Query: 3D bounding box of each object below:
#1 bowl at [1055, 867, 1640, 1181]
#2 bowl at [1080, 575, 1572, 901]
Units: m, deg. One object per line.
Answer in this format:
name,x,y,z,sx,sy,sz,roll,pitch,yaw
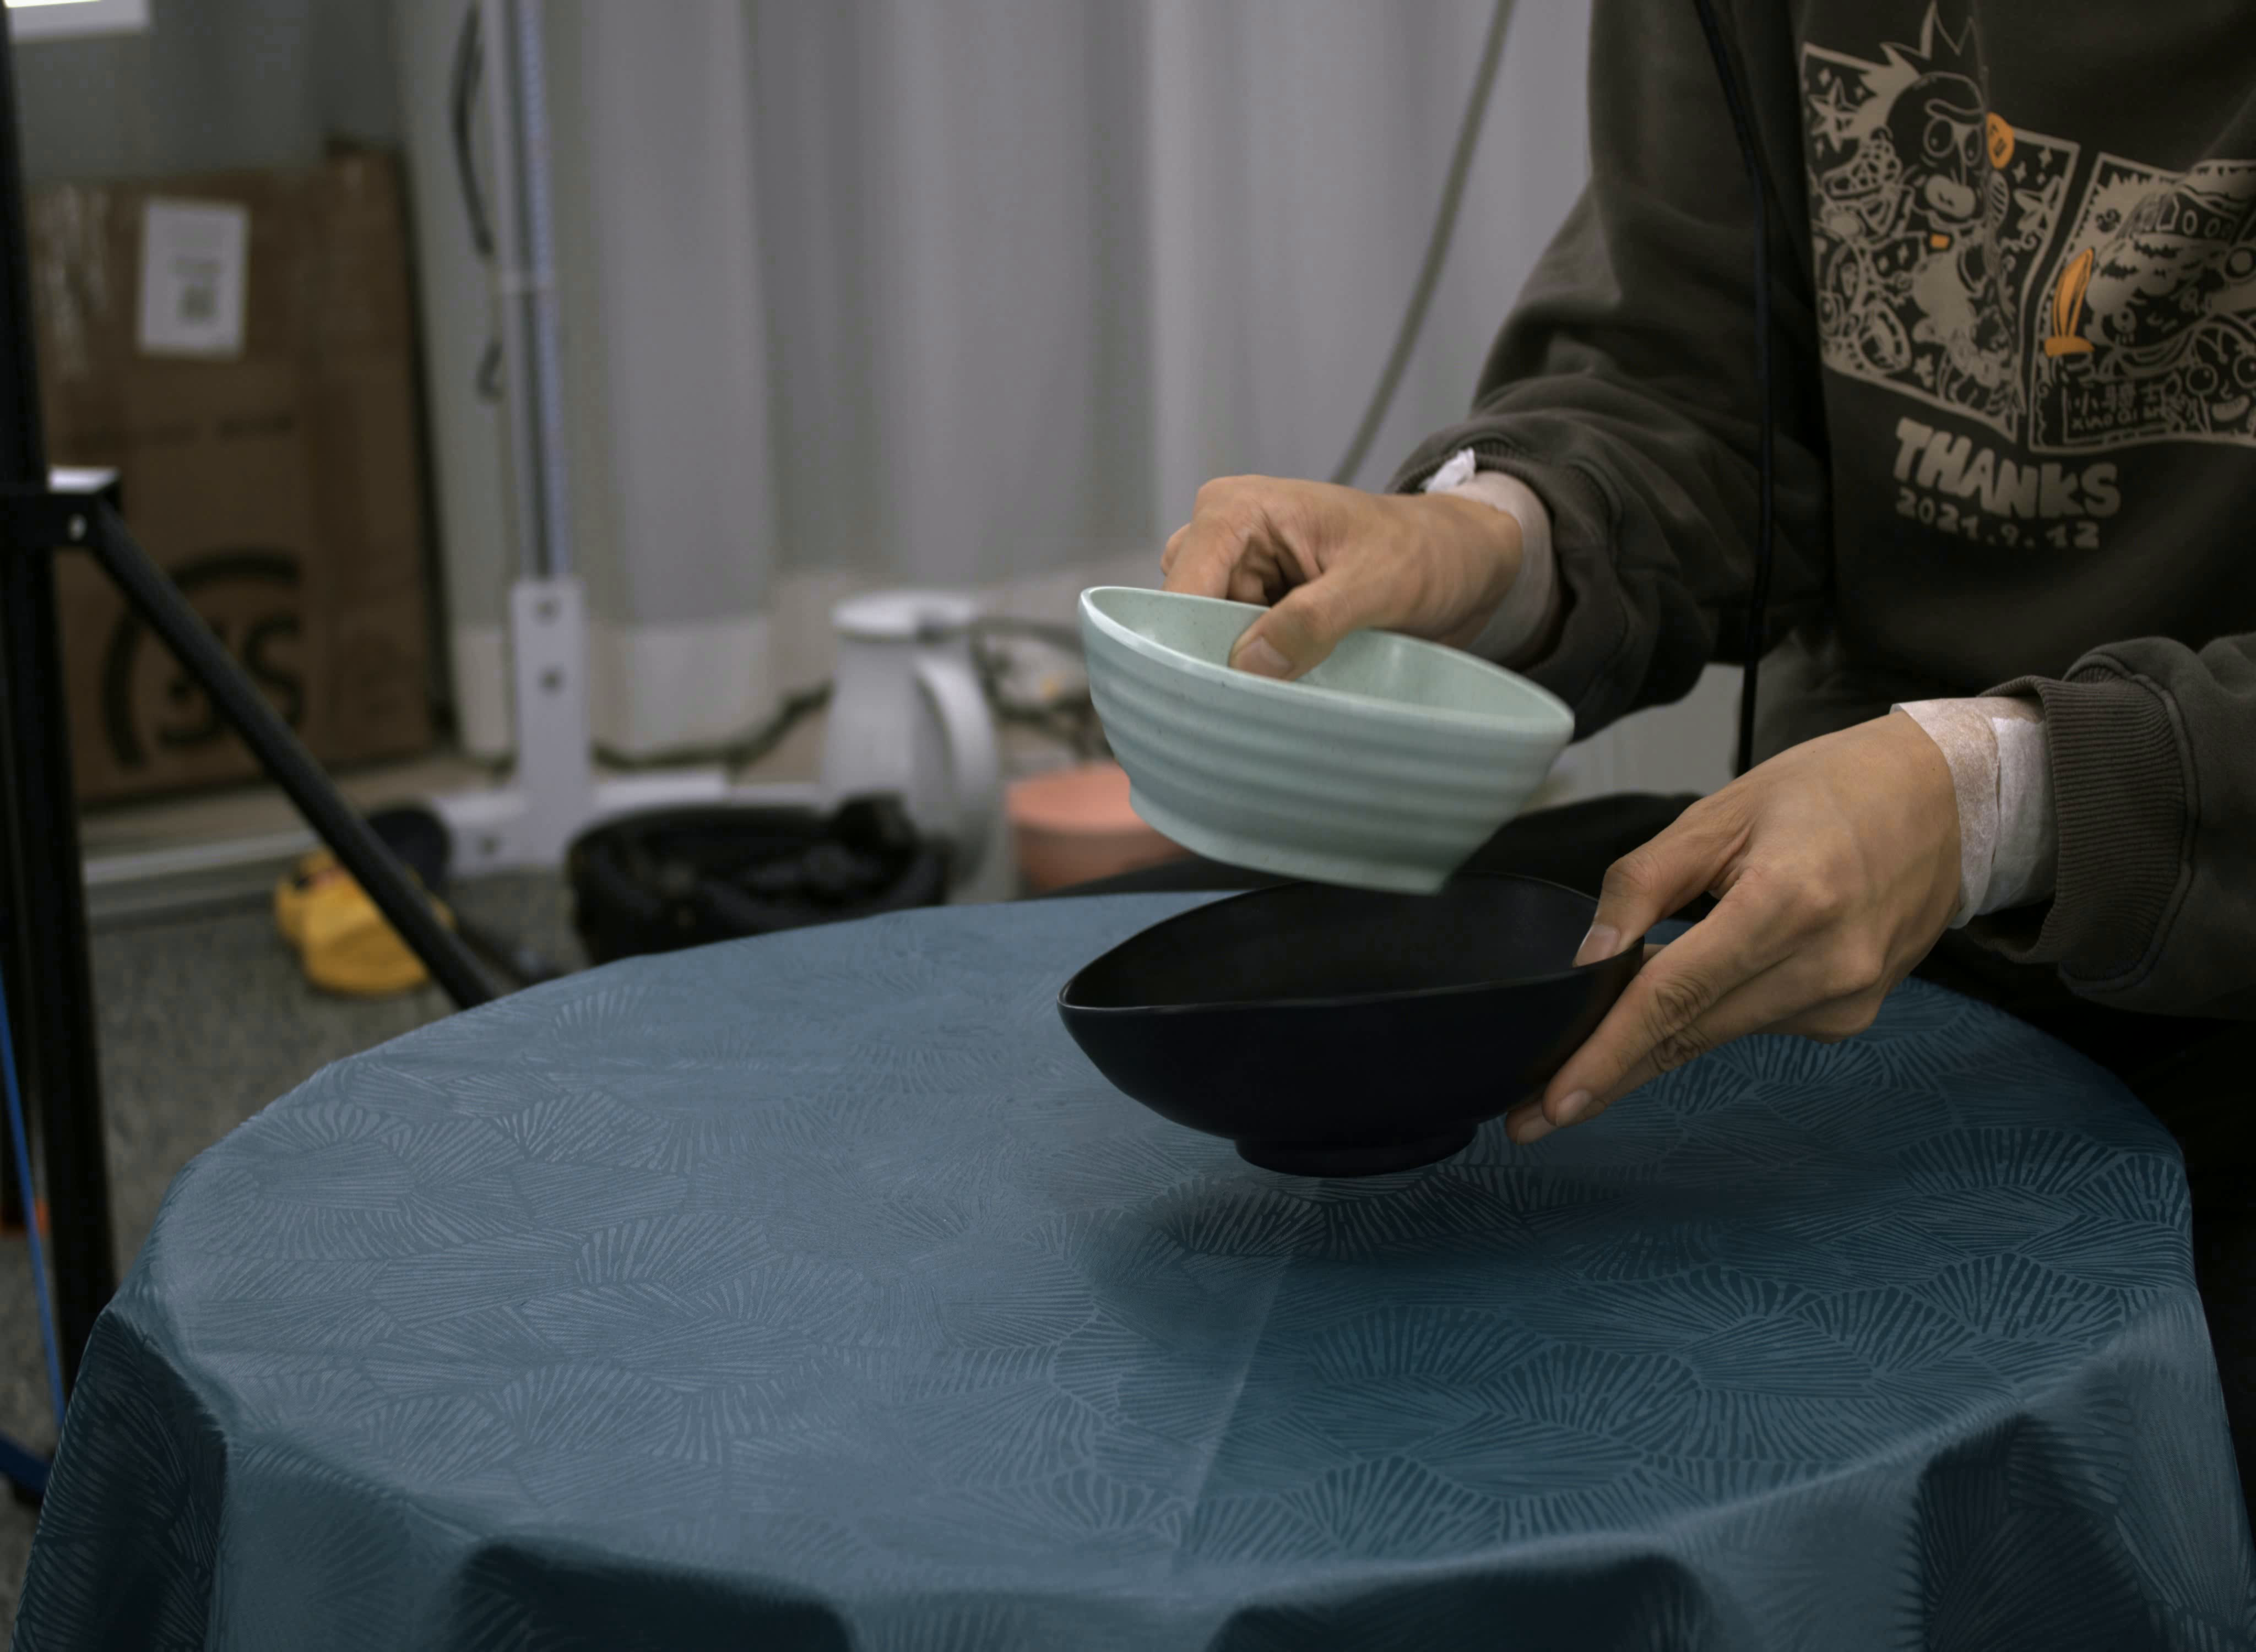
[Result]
bowl,0.064,0.062,1.525,0.170,0.067,0.137,-4,13,8
bowl,0.050,-0.021,1.522,0.150,0.059,0.152,13,14,-5
